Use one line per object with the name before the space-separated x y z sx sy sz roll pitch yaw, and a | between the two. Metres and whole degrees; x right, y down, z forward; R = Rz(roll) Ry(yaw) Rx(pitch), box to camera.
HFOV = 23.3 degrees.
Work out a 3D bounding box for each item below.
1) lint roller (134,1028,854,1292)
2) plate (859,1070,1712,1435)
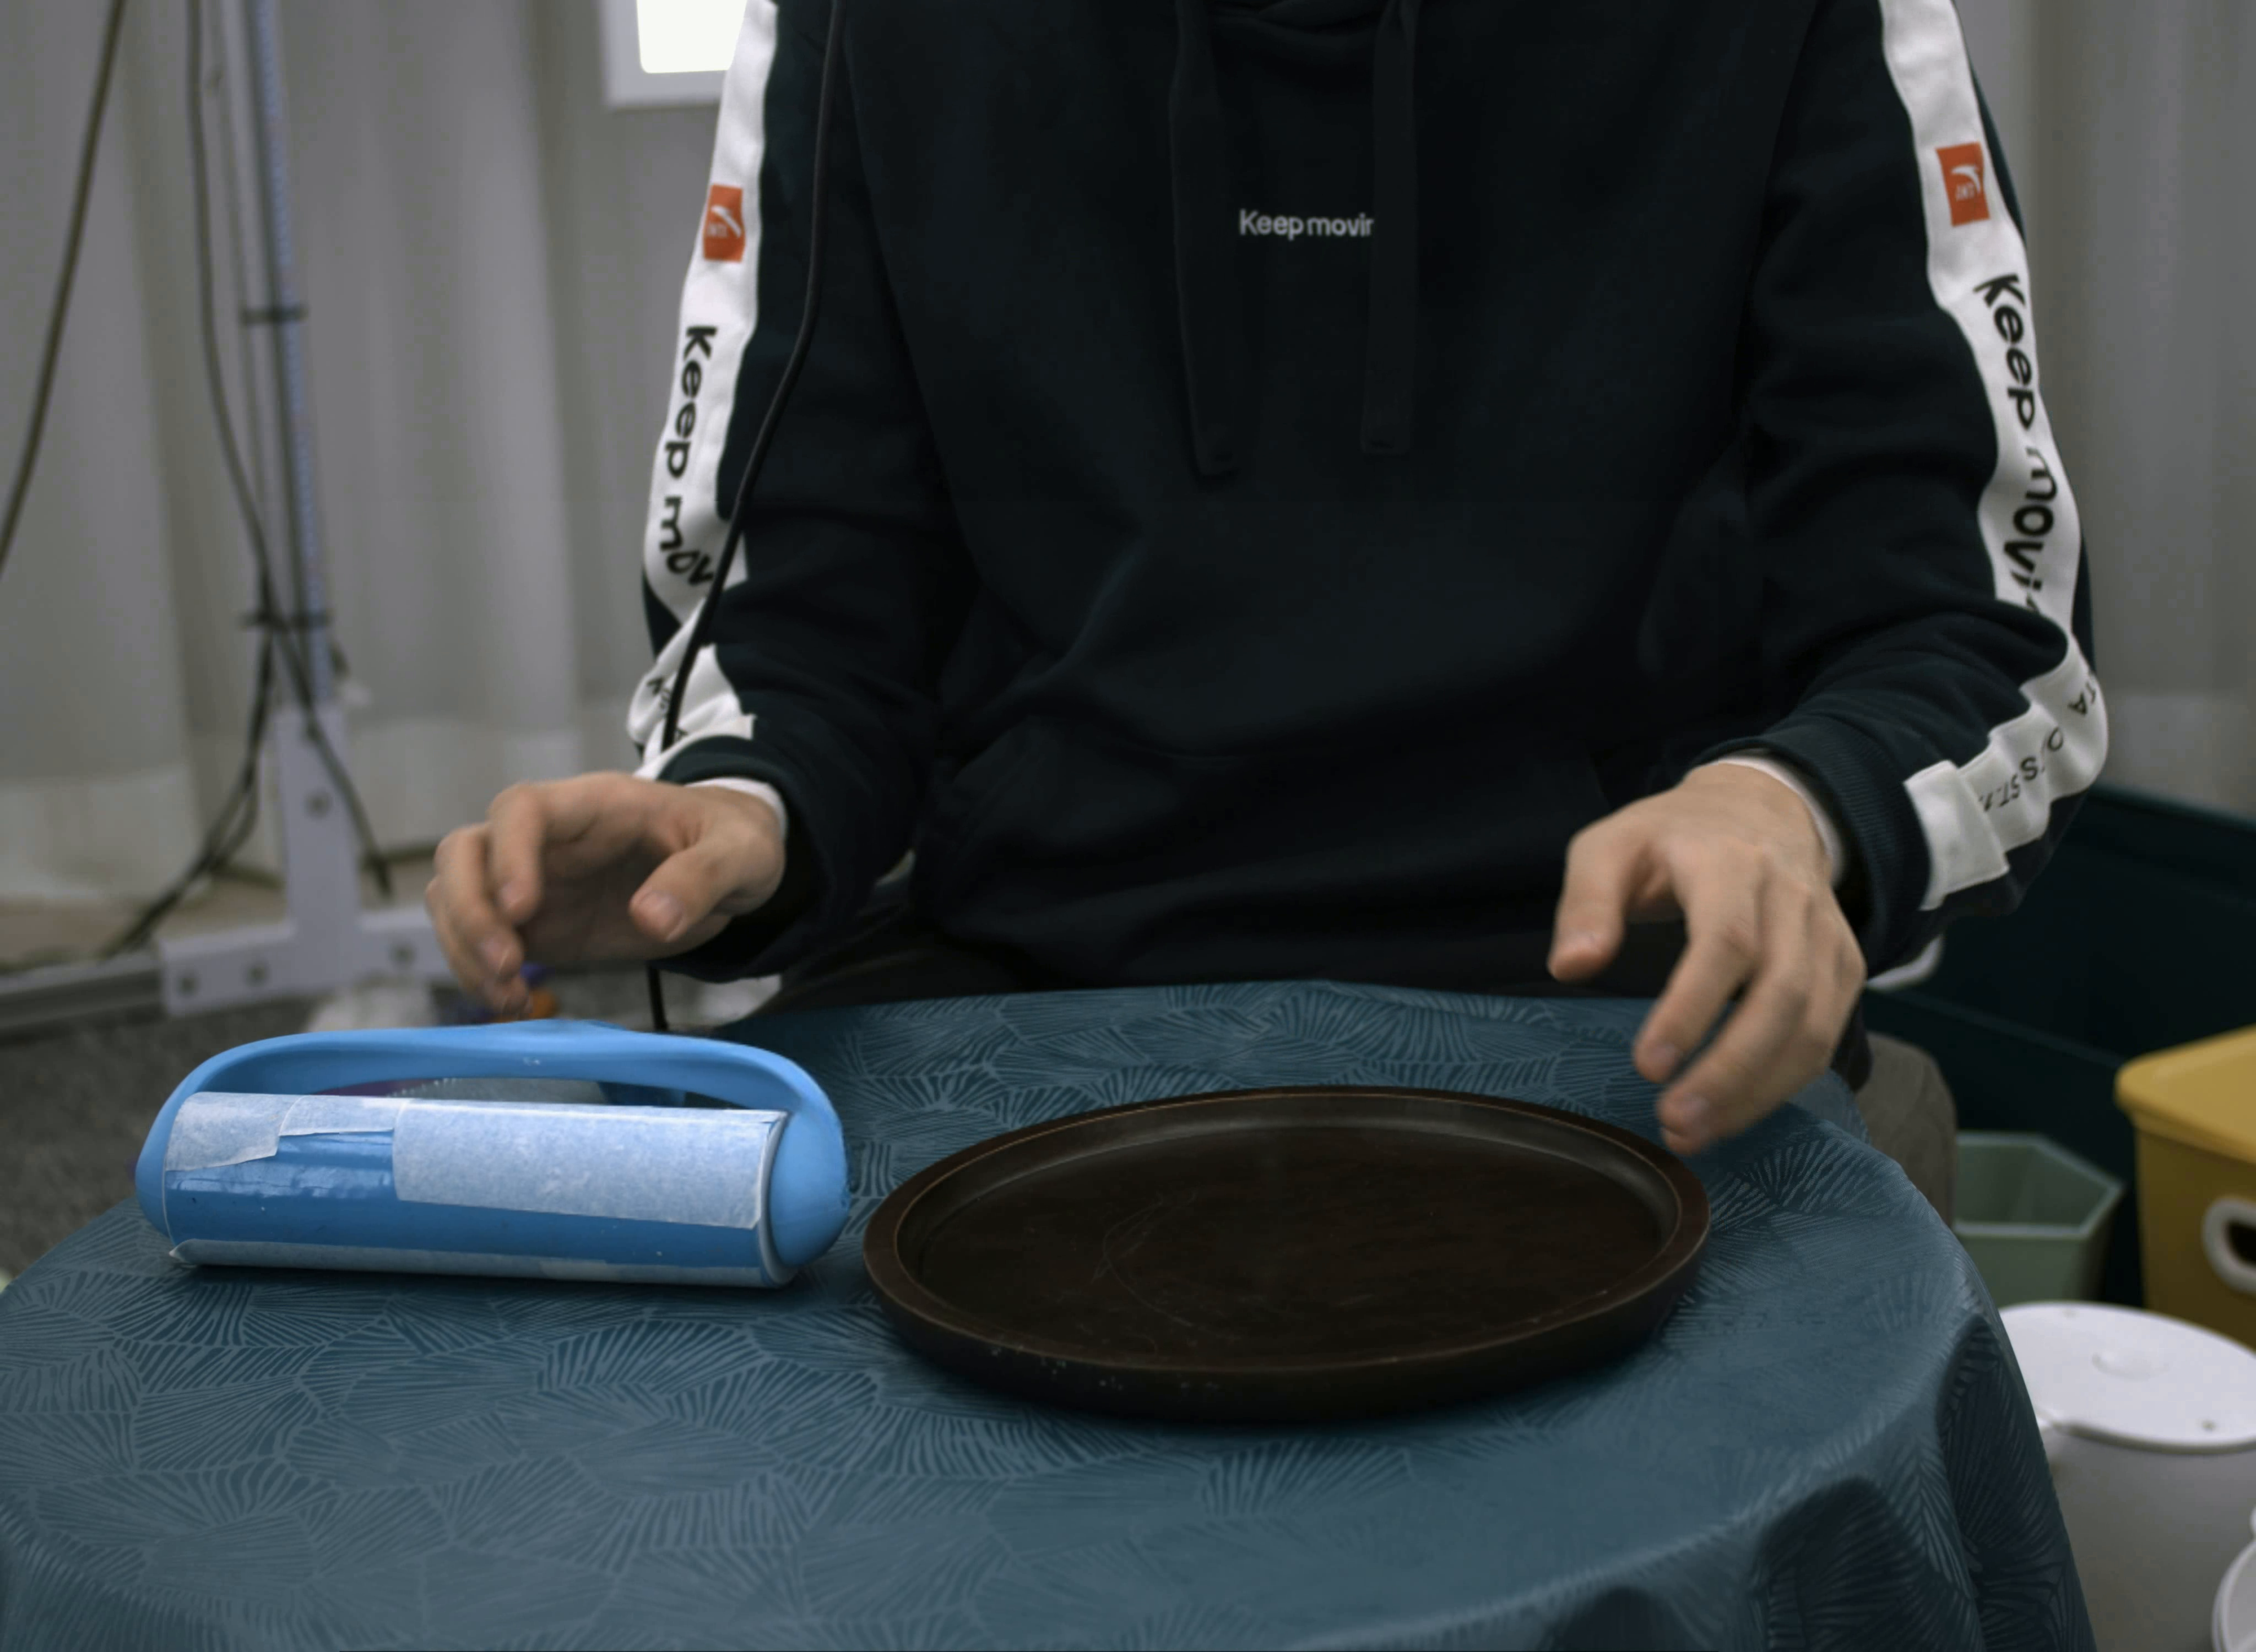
lint roller | -0.182 0.094 1.719 0.228 0.067 0.181 -1 16 13
plate | 0.046 0.126 1.618 0.254 0.029 0.256 -3 16 1
